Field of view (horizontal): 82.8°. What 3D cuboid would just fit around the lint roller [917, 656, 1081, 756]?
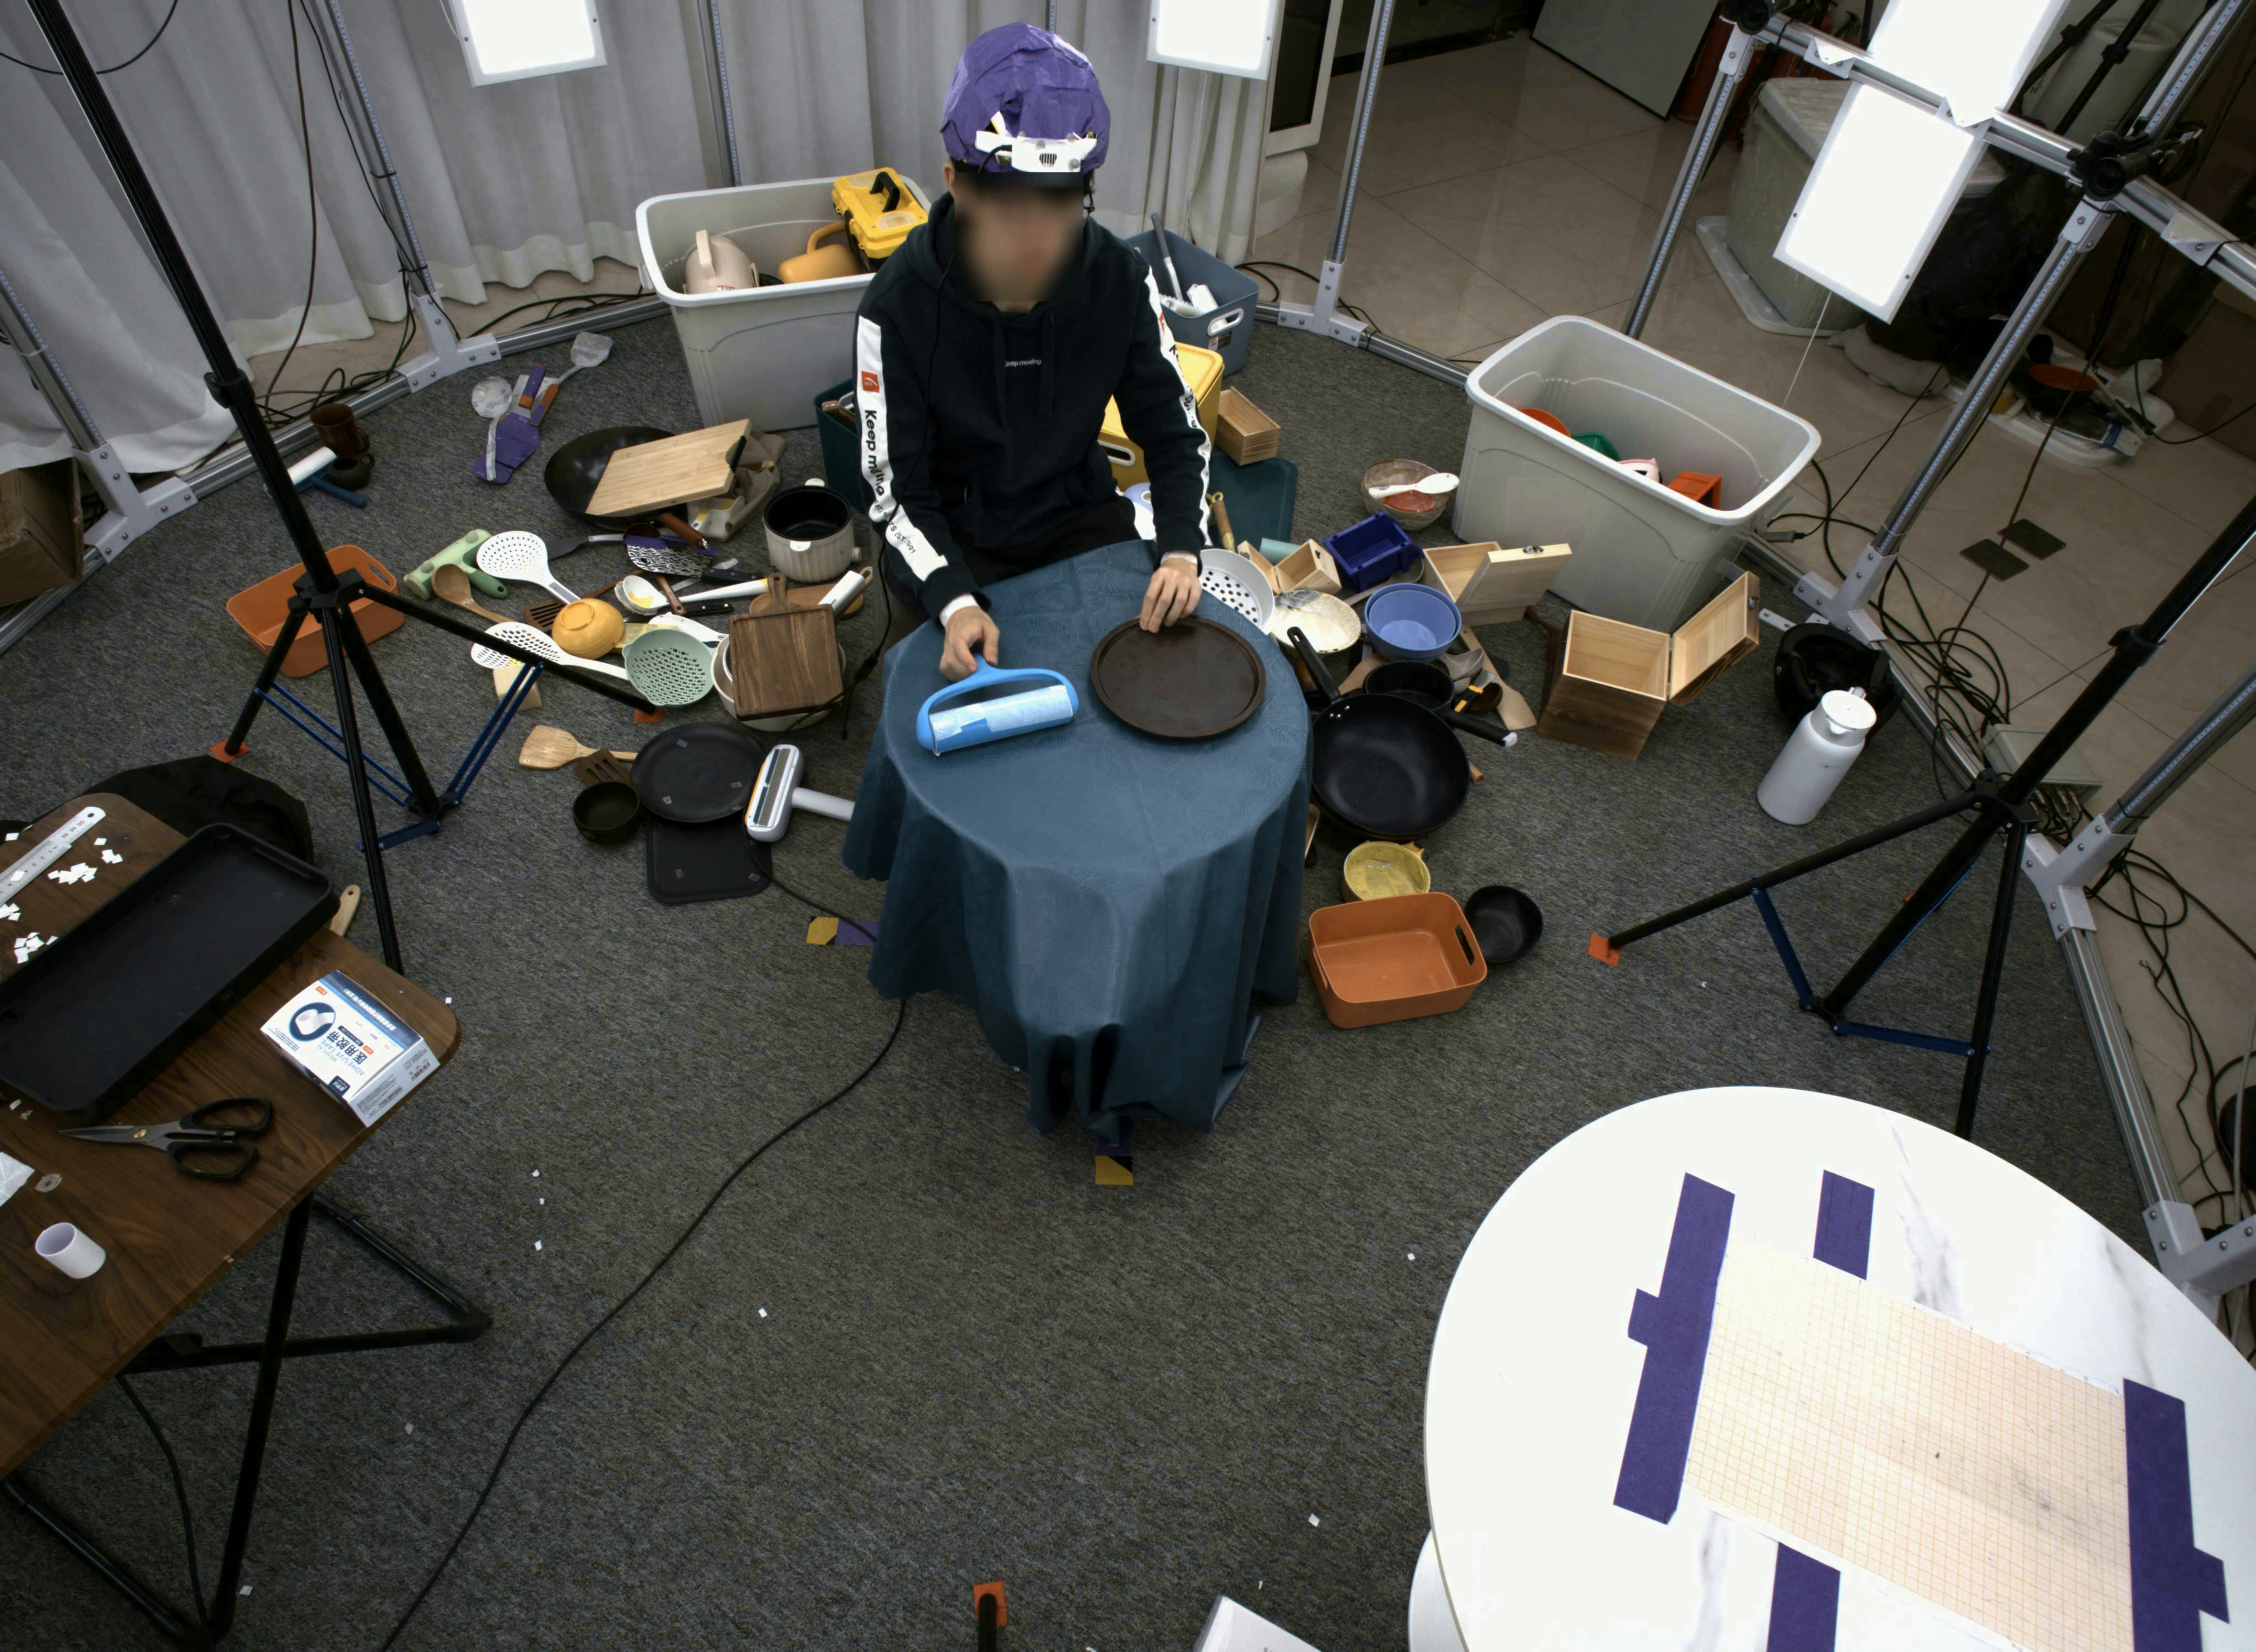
[{"bbox_3d":[-0.197,-0.189,1.783,0.229,0.066,0.184,-18,53,-16],"label":"lint roller"}]

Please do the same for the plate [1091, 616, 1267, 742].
[{"bbox_3d":[0.072,-0.214,1.843,0.254,0.028,0.261,2,49,-3],"label":"plate"}]
